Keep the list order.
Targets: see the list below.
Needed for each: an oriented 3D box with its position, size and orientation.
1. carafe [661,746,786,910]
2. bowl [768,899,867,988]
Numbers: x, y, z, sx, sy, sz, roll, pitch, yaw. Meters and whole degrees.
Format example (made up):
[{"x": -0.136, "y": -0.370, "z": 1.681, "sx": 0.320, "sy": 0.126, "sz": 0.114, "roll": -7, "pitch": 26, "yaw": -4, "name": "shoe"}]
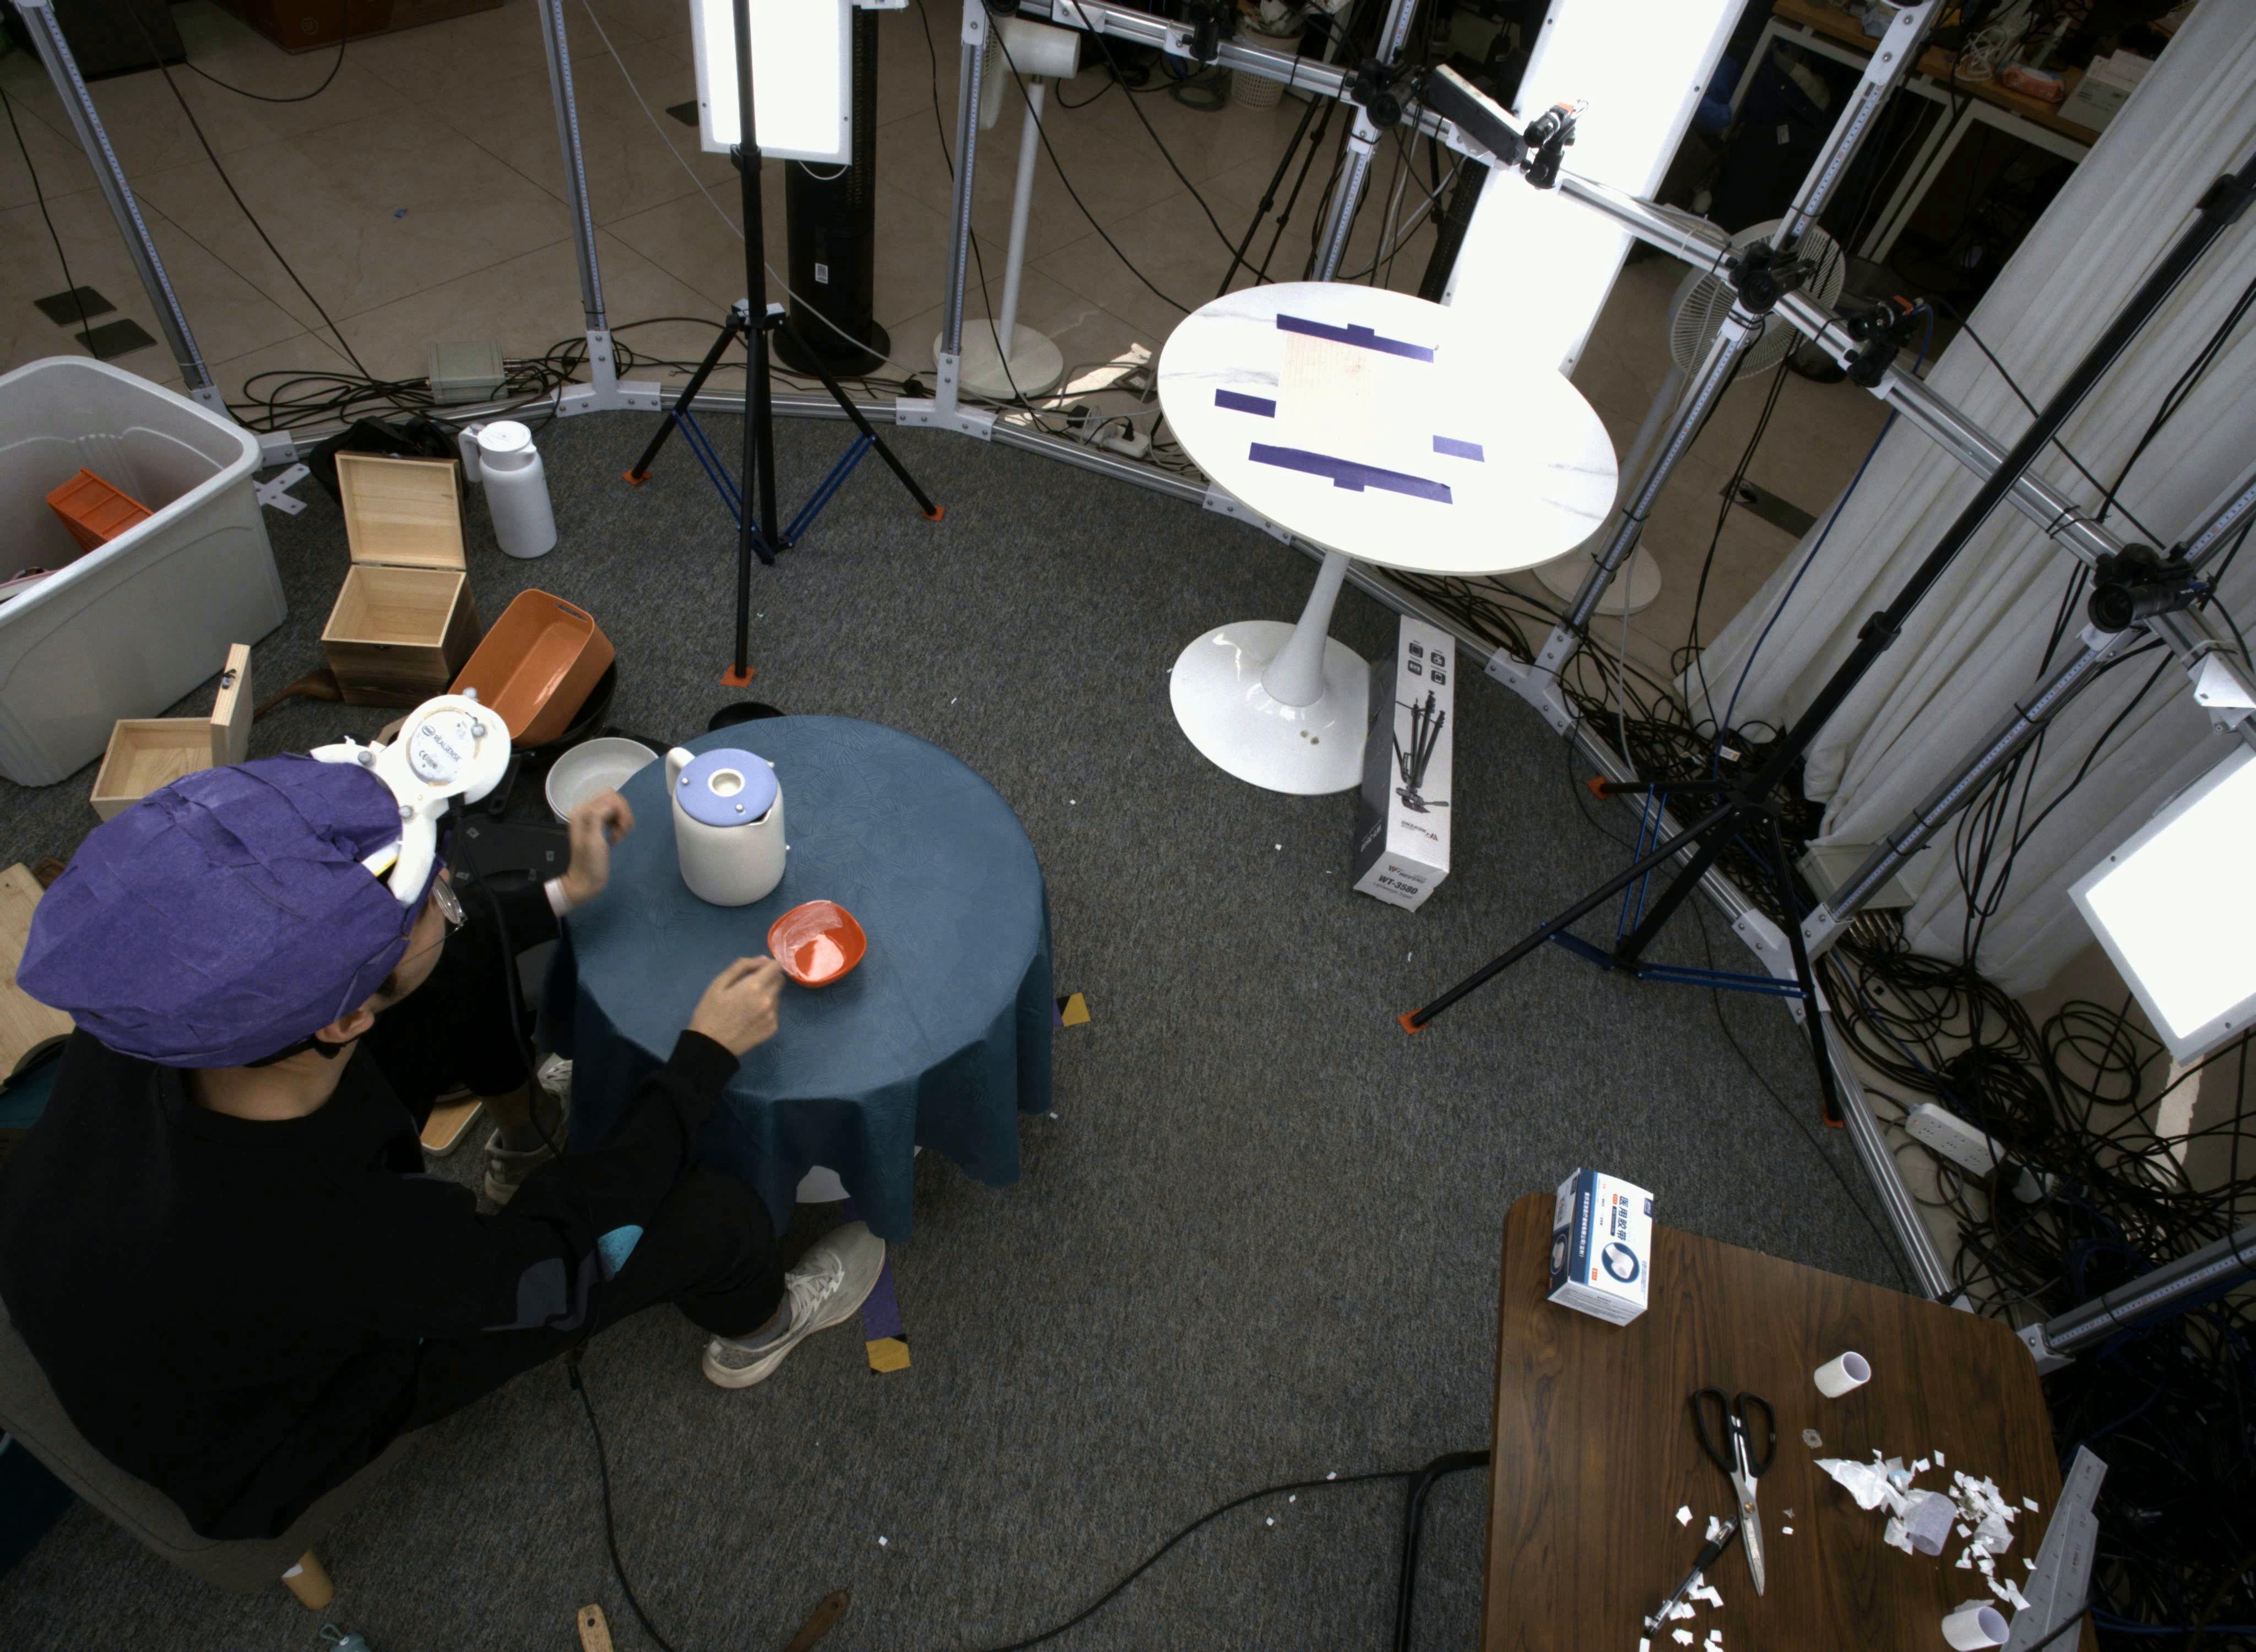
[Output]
[{"x": -0.513, "y": -0.012, "z": 1.605, "sx": 0.187, "sy": 0.187, "sz": 0.132, "roll": 35, "pitch": 52, "yaw": 17, "name": "carafe"}, {"x": -0.382, "y": 0.151, "z": 1.595, "sx": 0.119, "sy": 0.052, "sz": 0.117, "roll": 10, "pitch": 52, "yaw": -11, "name": "bowl"}]
